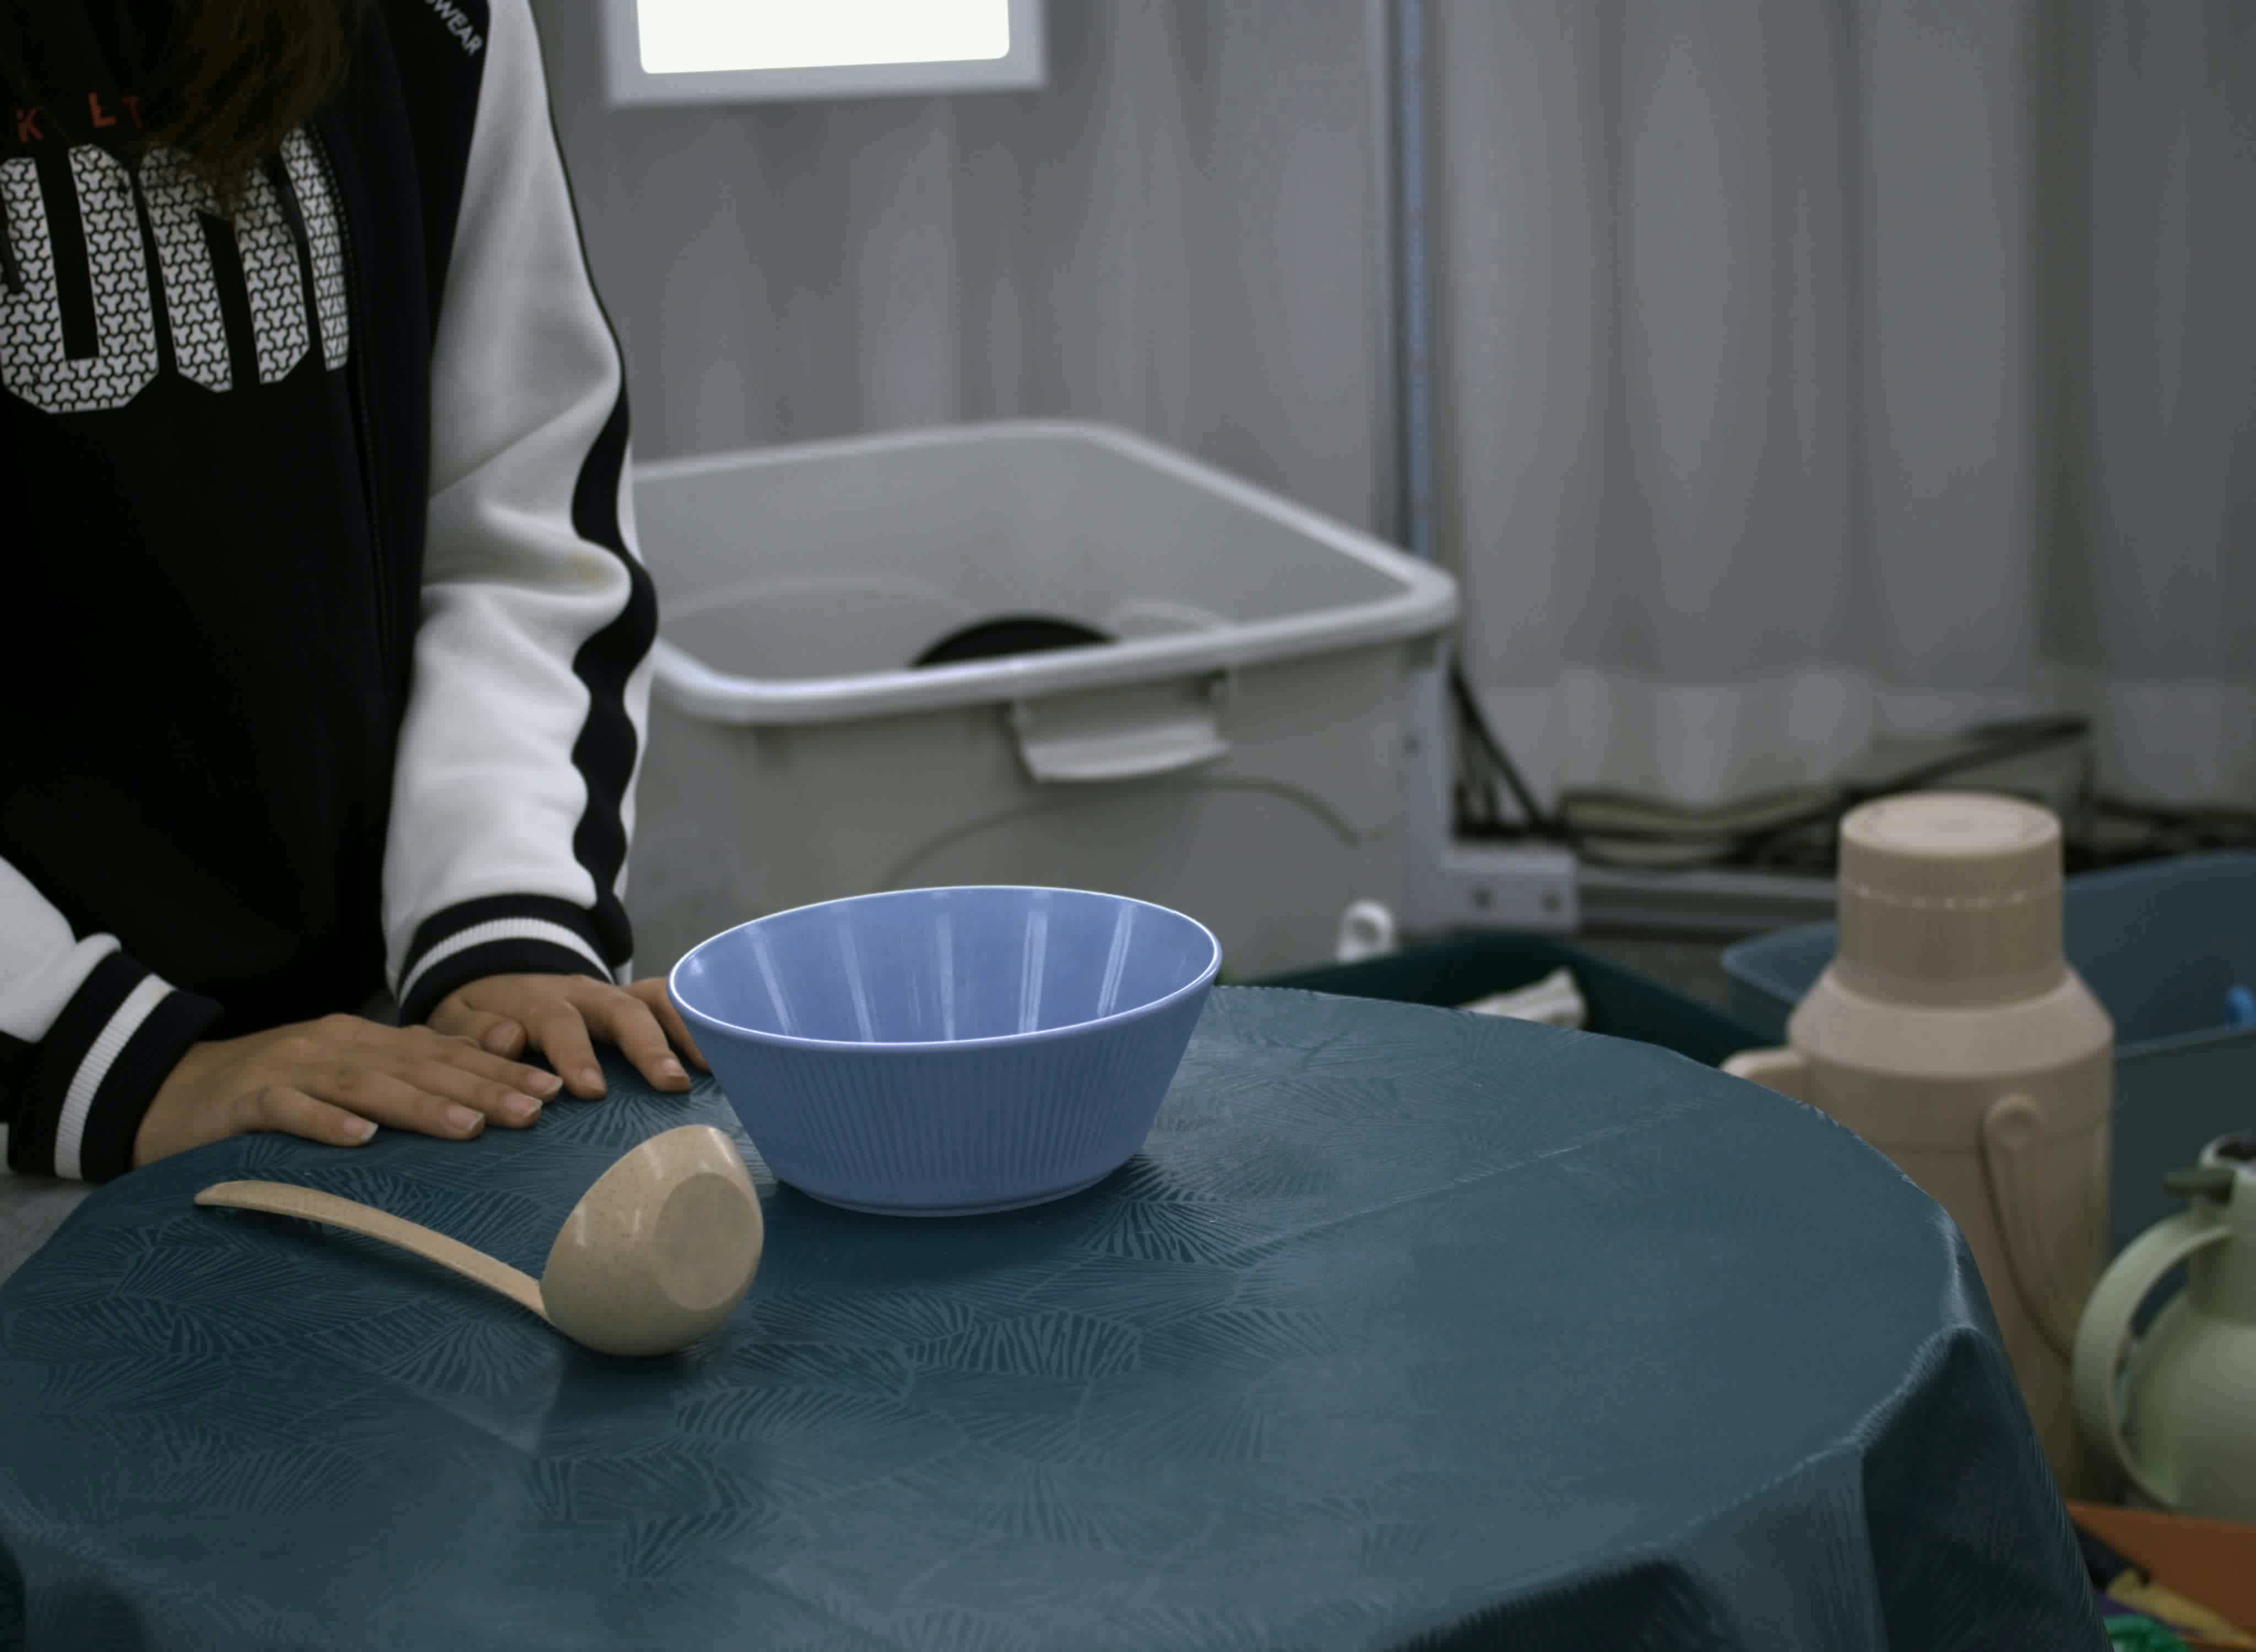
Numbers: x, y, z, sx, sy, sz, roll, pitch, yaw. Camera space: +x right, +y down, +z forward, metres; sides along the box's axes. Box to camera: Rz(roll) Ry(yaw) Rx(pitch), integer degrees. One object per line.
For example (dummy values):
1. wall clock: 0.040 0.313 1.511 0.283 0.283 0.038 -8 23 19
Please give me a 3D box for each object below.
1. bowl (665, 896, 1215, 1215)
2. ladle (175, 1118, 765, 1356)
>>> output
1. bowl: -0.058 0.075 1.740 0.175 0.070 0.177 -2 14 0
2. ladle: -0.210 0.104 1.652 0.256 0.072 0.072 11 20 43
